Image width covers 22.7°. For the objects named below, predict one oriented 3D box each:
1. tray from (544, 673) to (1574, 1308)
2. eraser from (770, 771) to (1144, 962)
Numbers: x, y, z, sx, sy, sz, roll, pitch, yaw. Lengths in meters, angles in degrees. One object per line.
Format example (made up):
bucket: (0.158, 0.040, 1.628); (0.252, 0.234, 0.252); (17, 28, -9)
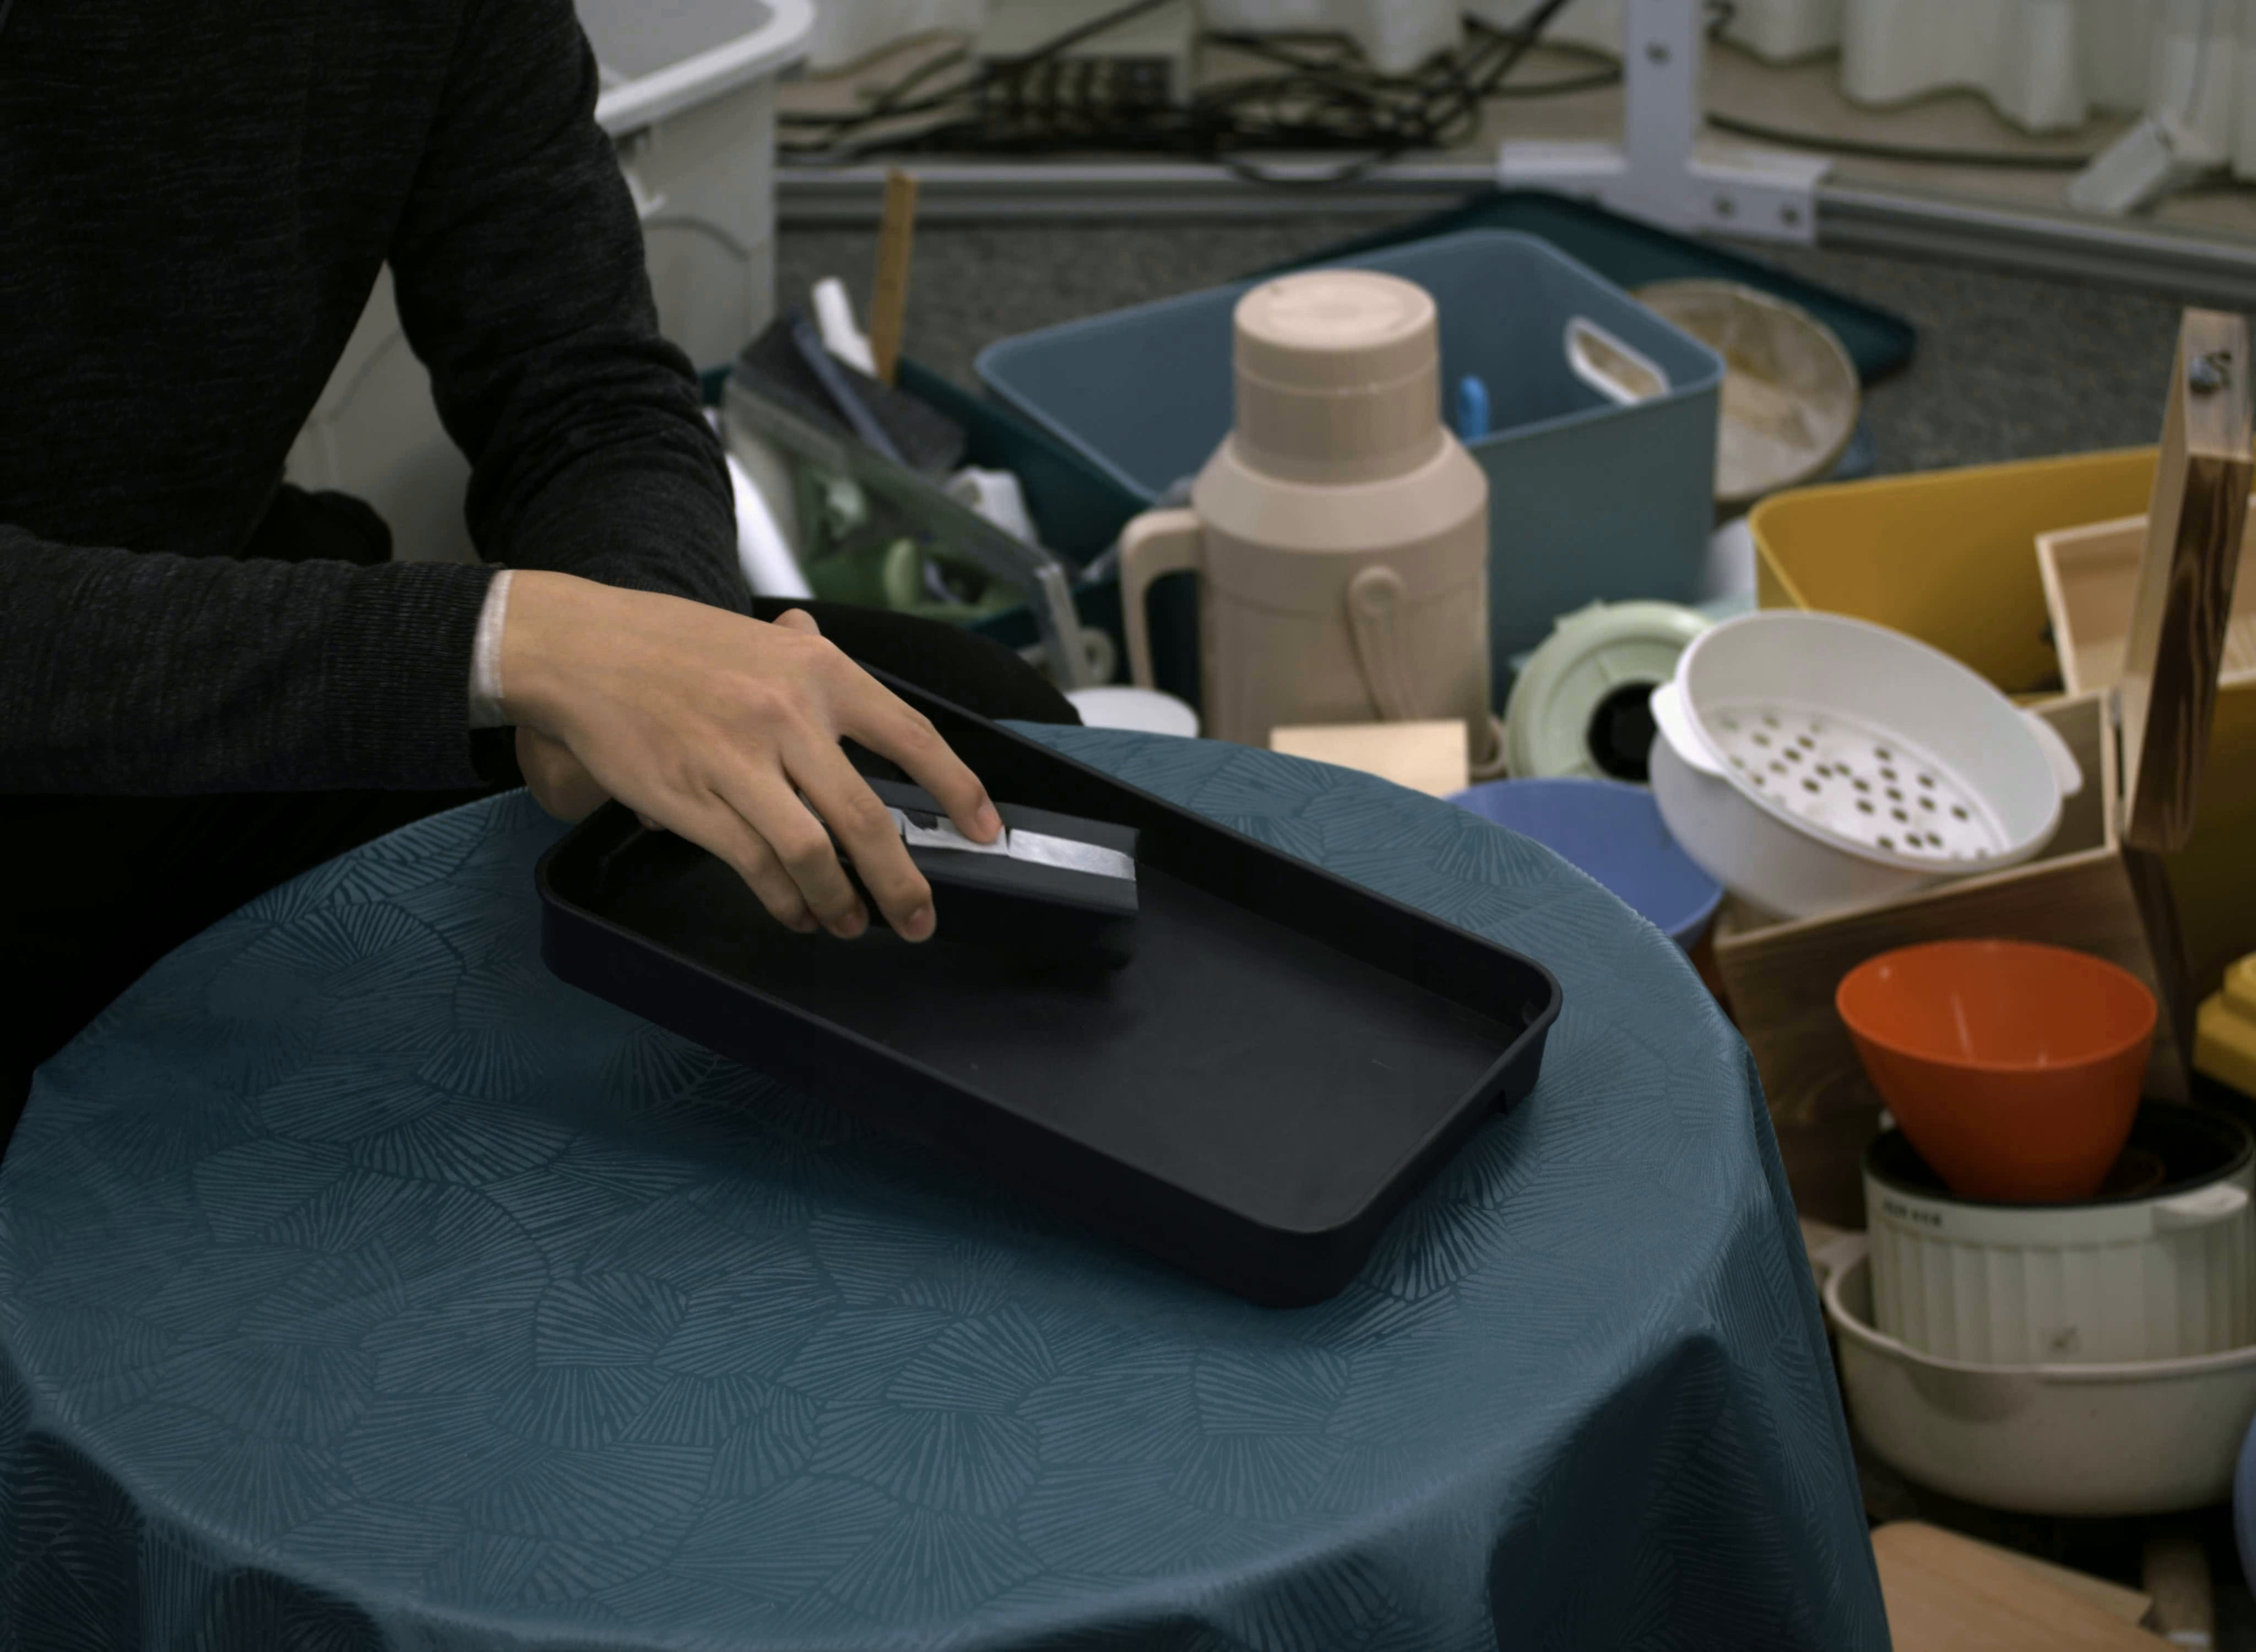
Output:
tray: (-0.024, 0.051, 1.899); (0.317, 0.036, 0.187); (22, 37, 21)
eraser: (-0.059, 0.013, 1.908); (0.125, 0.030, 0.054); (9, 32, -12)
